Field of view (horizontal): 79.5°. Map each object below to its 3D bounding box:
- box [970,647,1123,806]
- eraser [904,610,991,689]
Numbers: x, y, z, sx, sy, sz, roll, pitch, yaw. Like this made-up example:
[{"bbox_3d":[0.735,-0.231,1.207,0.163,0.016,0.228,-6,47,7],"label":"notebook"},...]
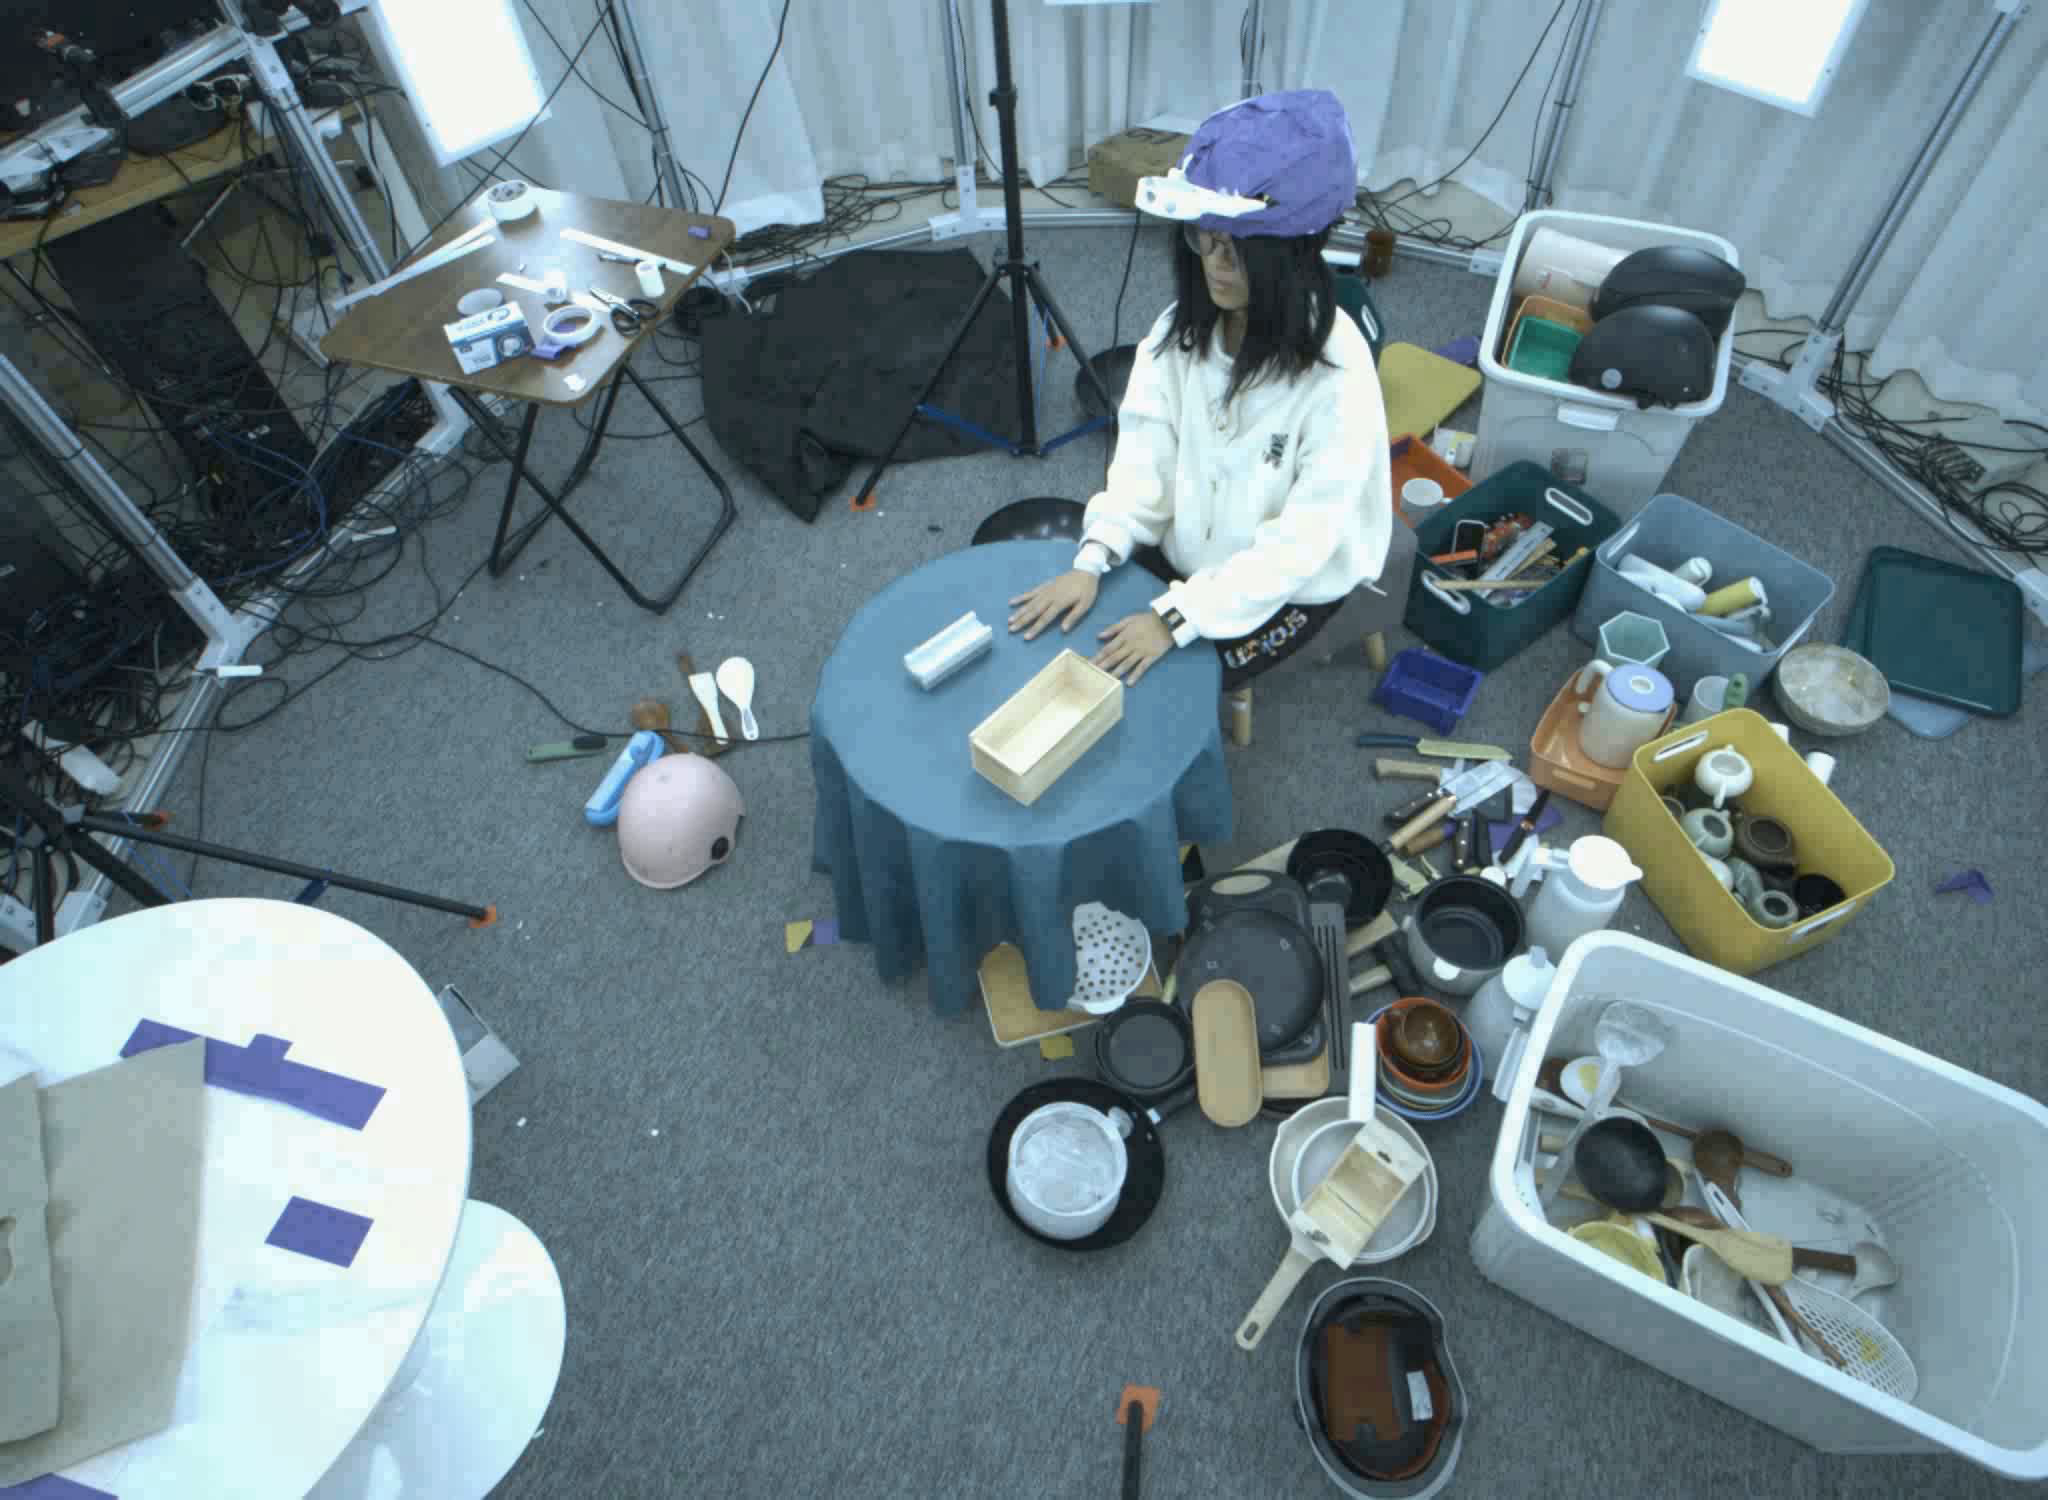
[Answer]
[{"bbox_3d":[0.035,-0.036,1.763,0.106,0.081,0.212,34,63,23],"label":"box"},{"bbox_3d":[-0.115,-0.152,1.870,0.135,0.047,0.049,-39,60,-21],"label":"eraser"}]
